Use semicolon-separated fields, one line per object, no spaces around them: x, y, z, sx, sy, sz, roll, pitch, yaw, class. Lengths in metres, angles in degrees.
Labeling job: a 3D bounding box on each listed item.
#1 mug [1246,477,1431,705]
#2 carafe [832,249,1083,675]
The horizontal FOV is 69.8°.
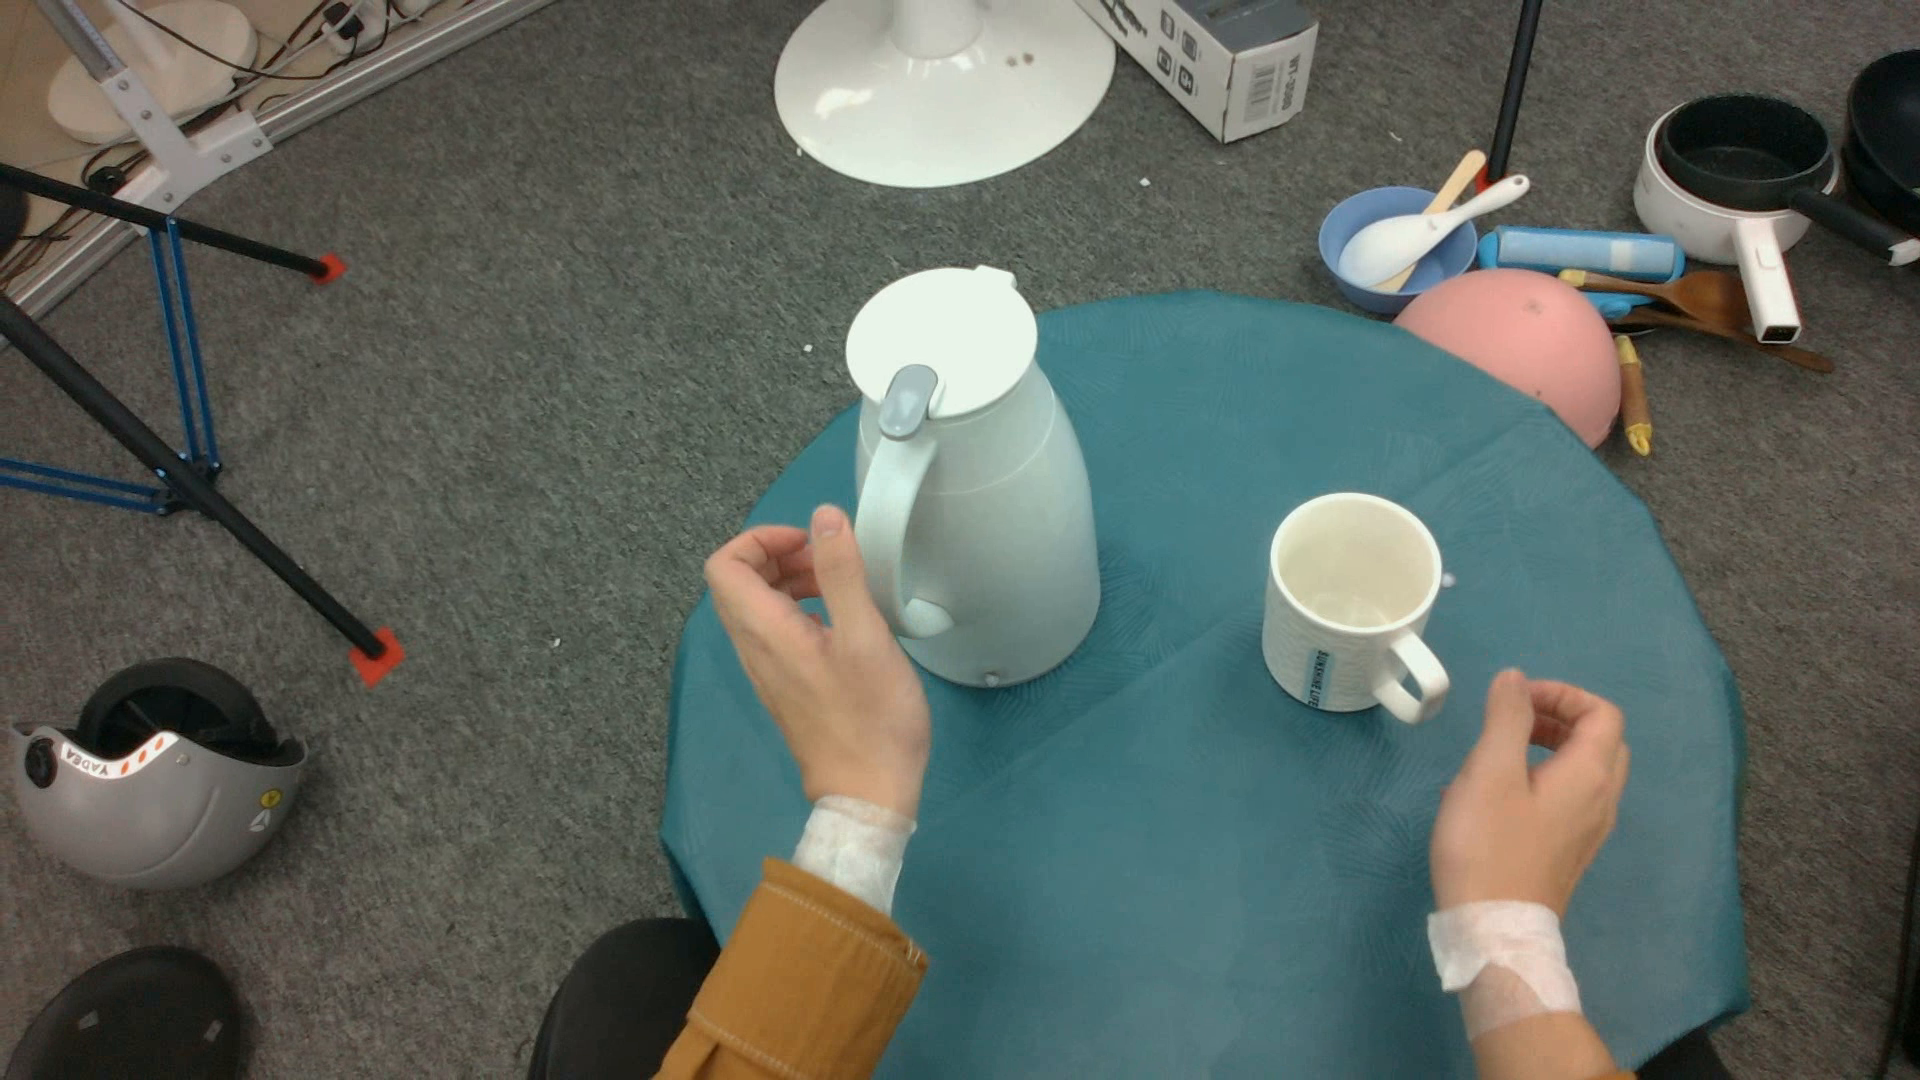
0.210;0.039;0.753;0.085;0.101;0.118;-29;59;-10;mug
-0.009;-0.025;0.735;0.132;0.247;0.168;17;62;16;carafe
